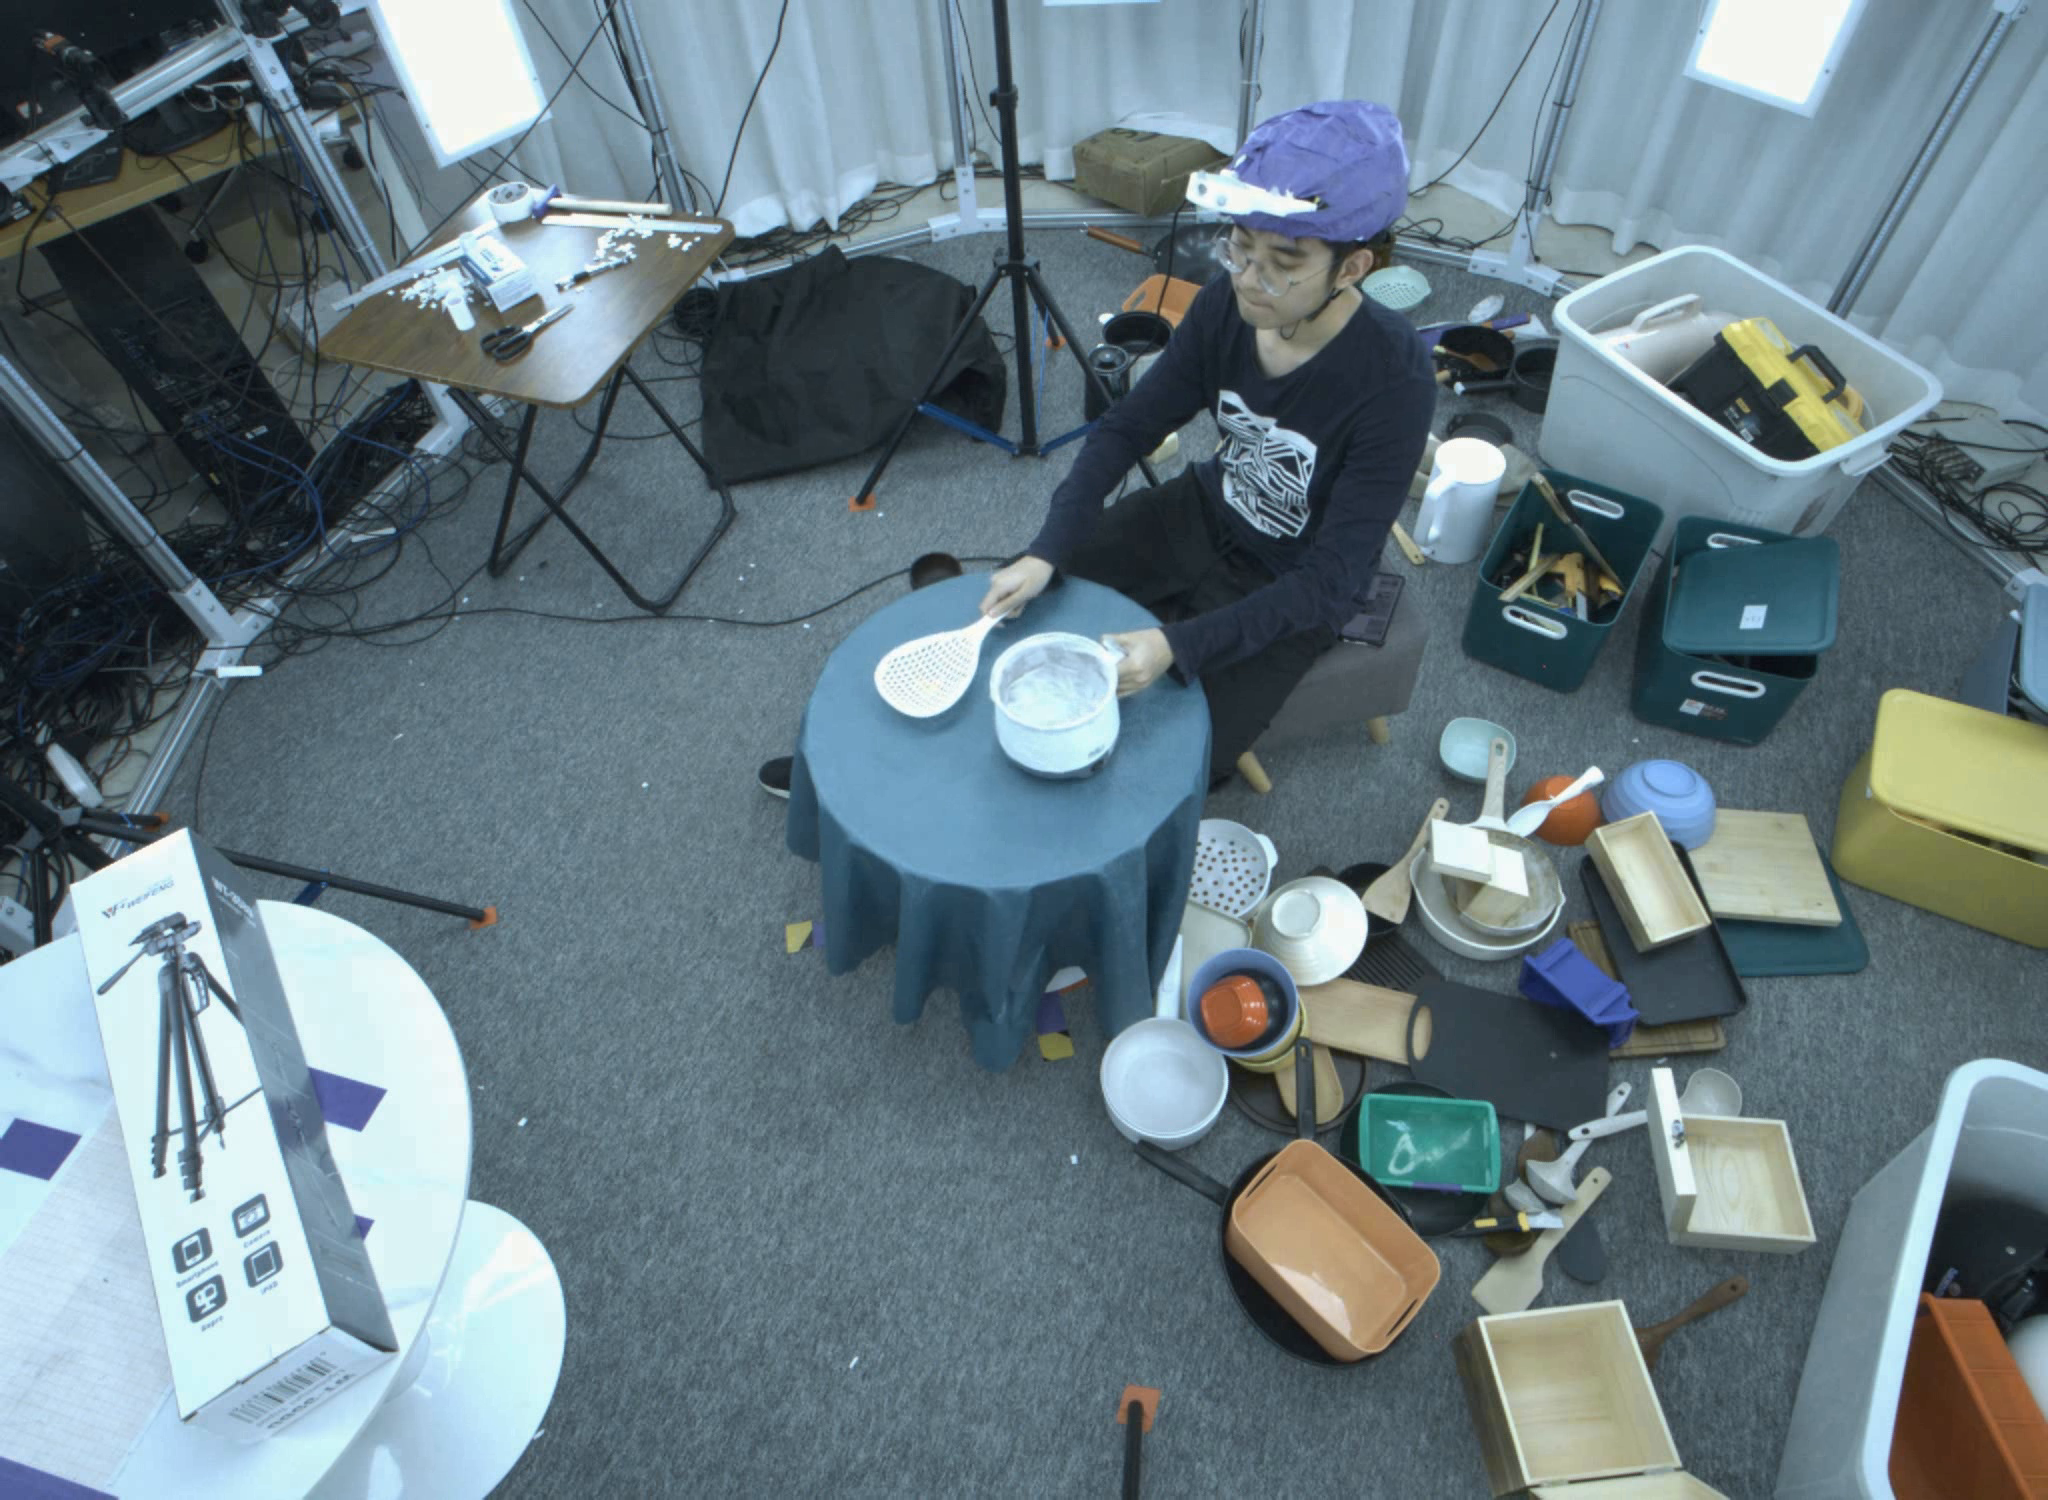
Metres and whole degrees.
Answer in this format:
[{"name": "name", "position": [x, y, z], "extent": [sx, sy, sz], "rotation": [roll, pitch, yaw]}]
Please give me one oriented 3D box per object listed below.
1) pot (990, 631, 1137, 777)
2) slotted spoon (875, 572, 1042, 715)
[{"name": "pot", "position": [0.066, -0.076, 1.760], "extent": [0.235, 0.138, 0.175], "rotation": [-36, 61, -21]}, {"name": "slotted spoon", "position": [-0.082, -0.174, 1.887], "extent": [0.135, 0.051, 0.349], "rotation": [36, 66, 18]}]
